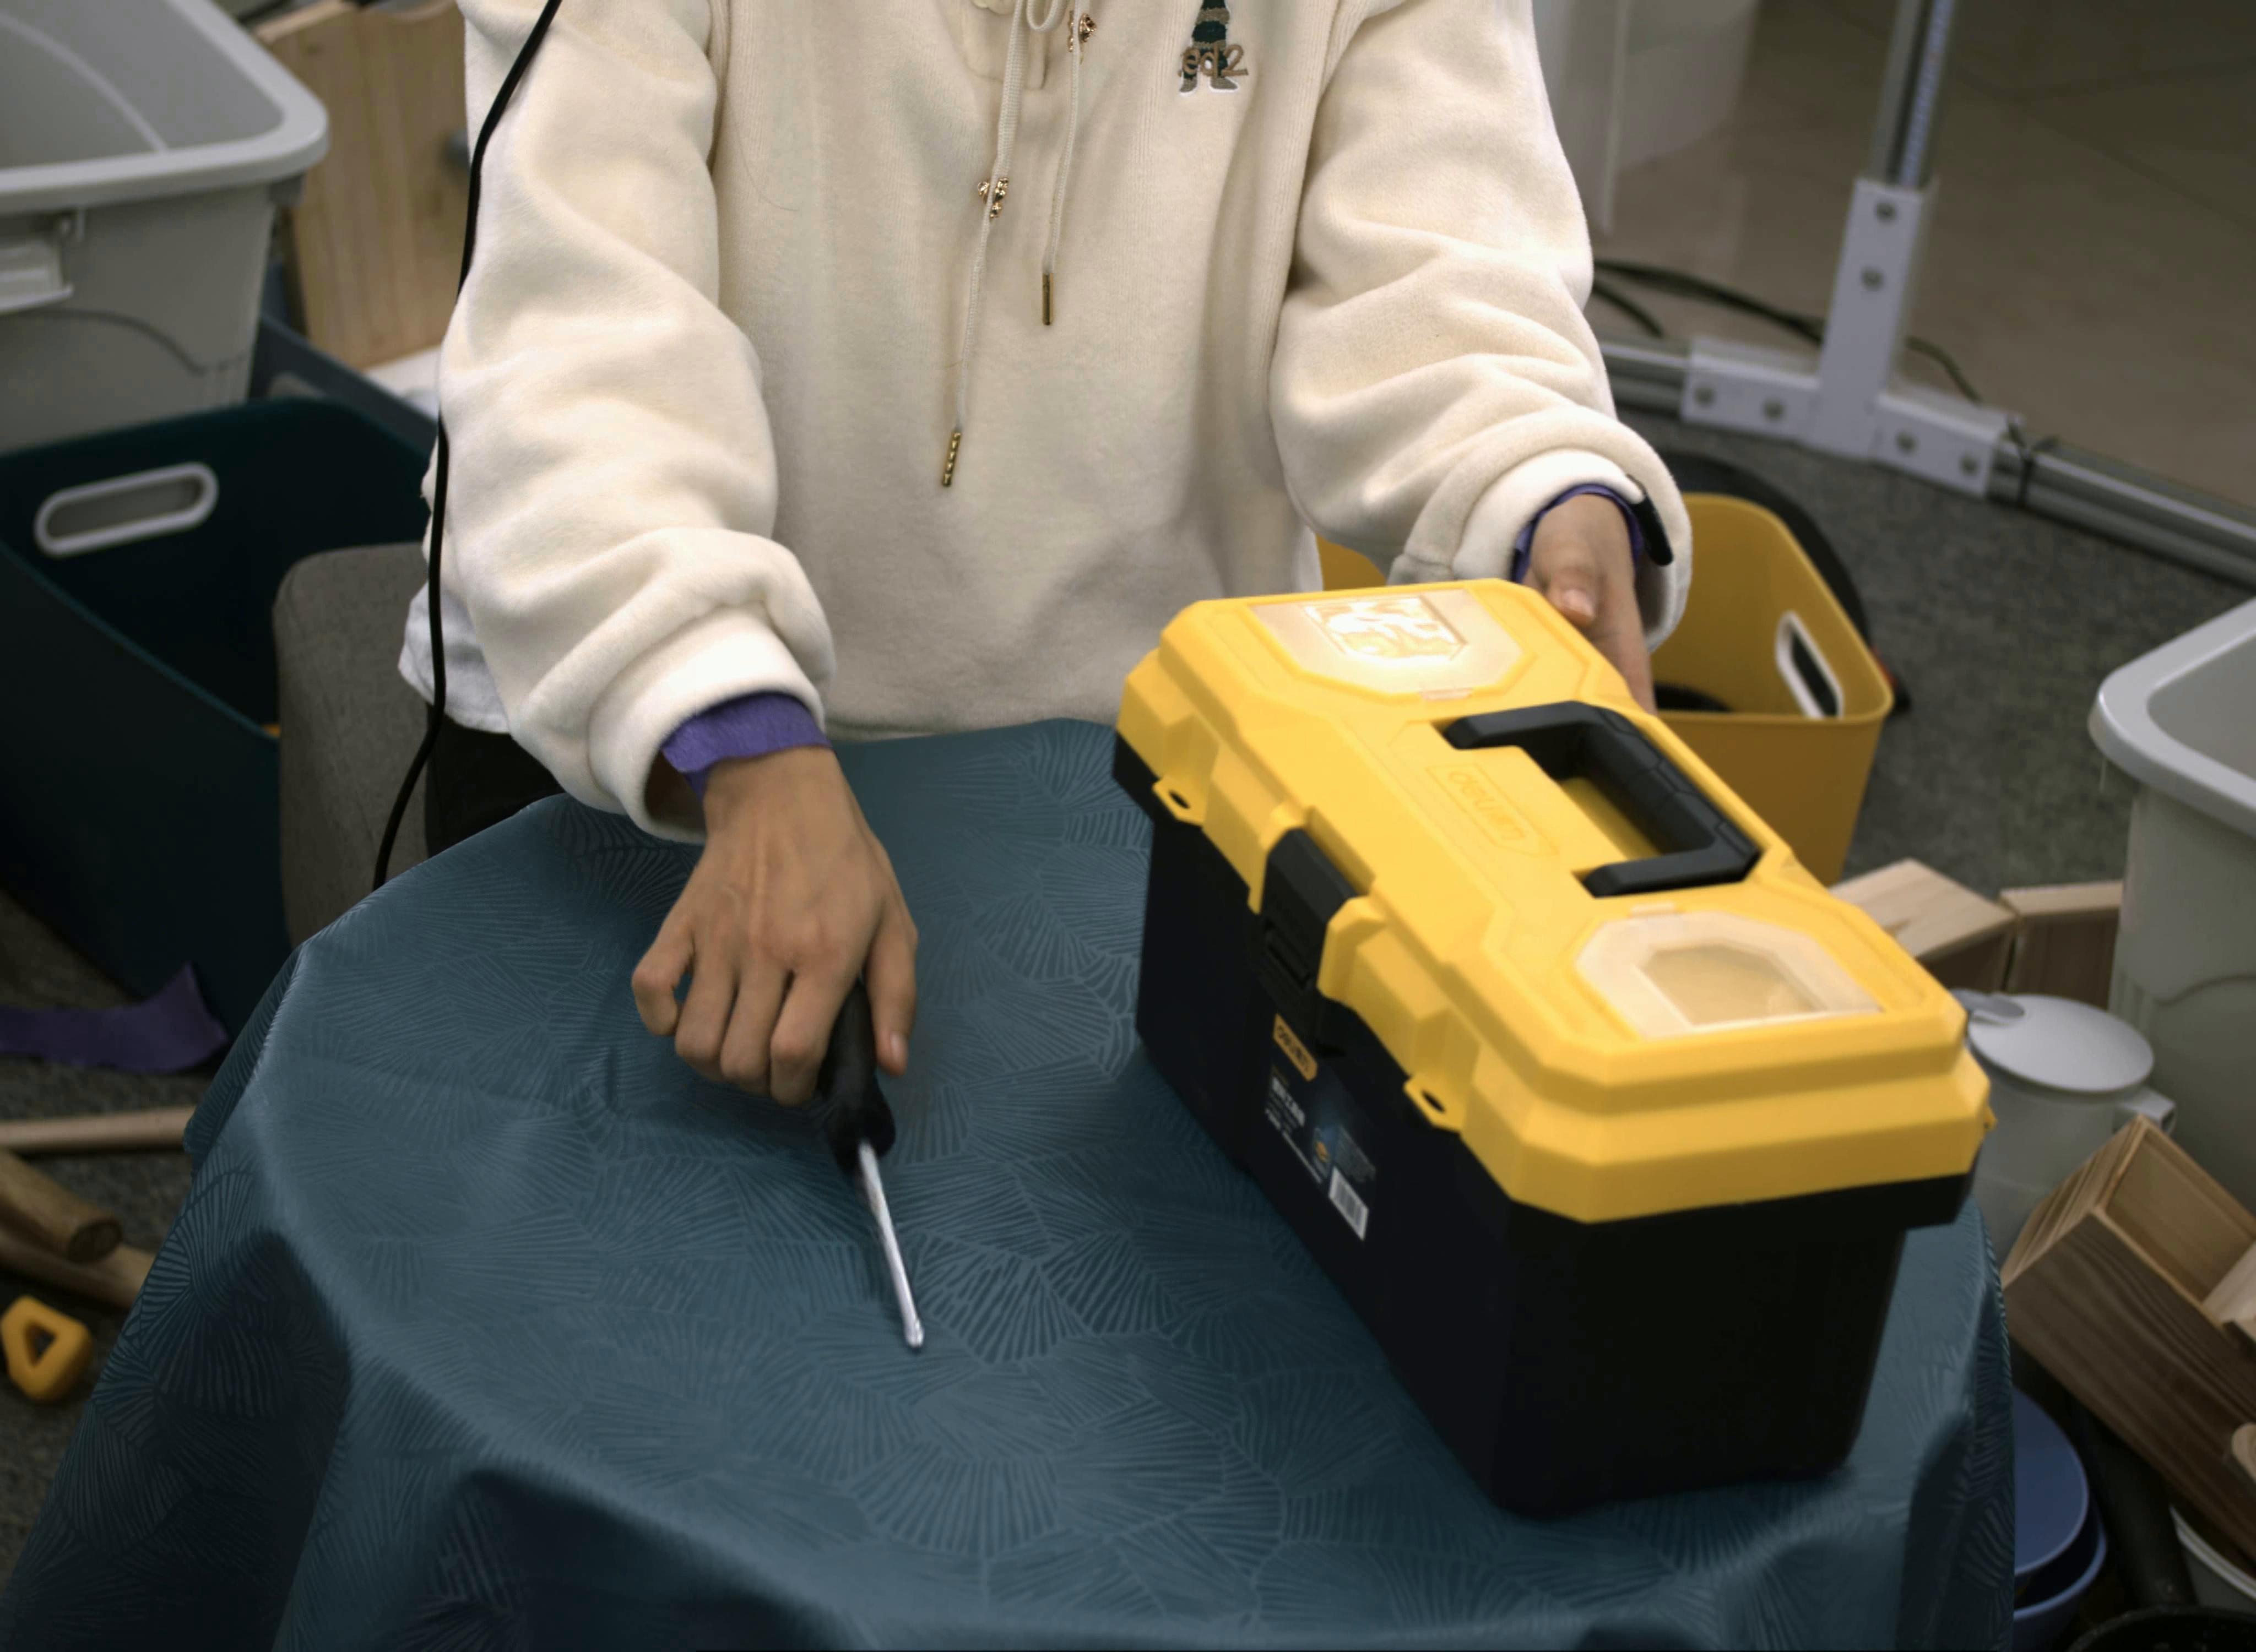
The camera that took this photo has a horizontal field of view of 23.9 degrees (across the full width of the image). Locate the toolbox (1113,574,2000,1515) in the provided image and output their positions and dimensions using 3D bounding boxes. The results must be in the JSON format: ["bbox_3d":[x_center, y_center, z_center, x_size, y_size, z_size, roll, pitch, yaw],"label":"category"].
[{"bbox_3d":[0.127,0.064,1.756,0.180,0.172,0.354,-5,29,-21],"label":"toolbox"}]

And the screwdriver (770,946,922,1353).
[{"bbox_3d":[-0.092,0.105,1.768,0.031,0.031,0.198,0,35,-15],"label":"screwdriver"}]
